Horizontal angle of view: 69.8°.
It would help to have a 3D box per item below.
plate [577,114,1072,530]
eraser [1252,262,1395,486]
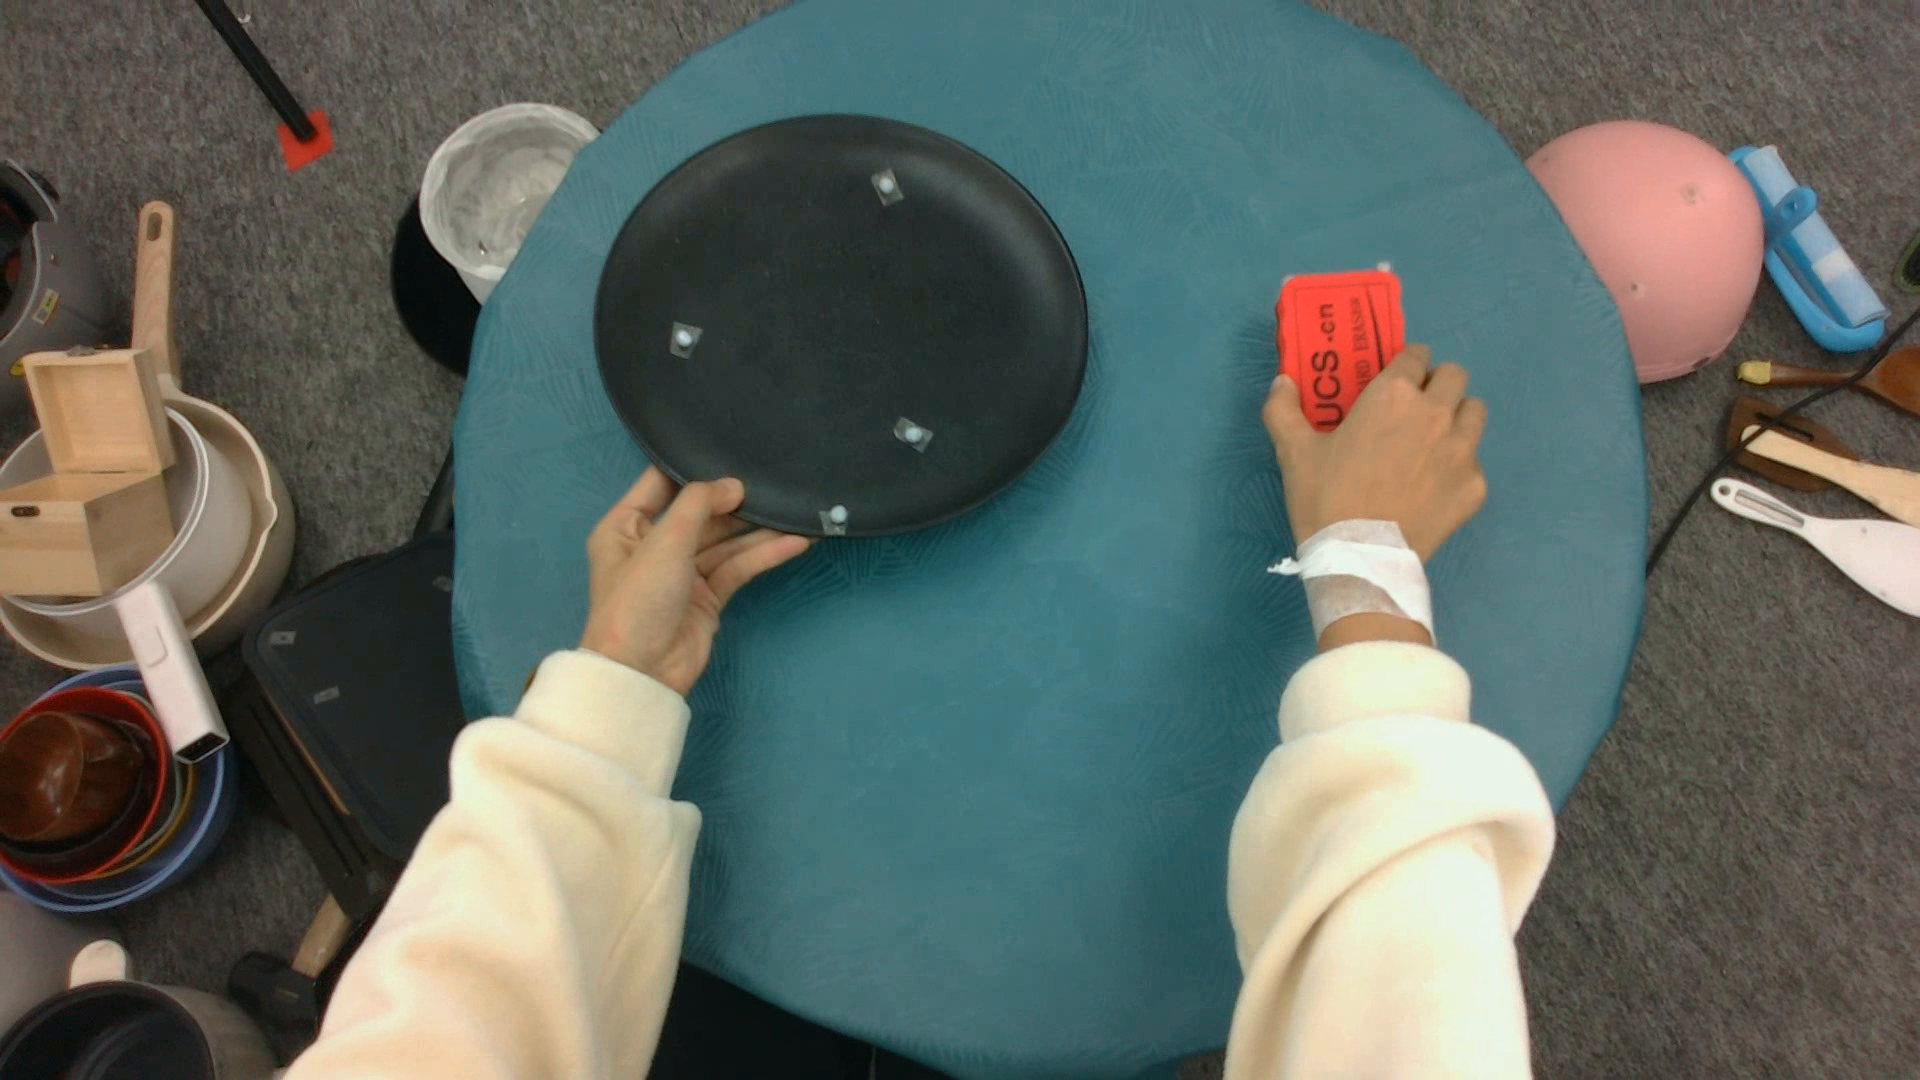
[{"bbox_3d":[-0.066,-0.112,0.689,0.244,0.023,0.245,2,65,-4],"label":"plate"},{"bbox_3d":[0.177,-0.081,0.673,0.059,0.023,0.108,-2,76,2],"label":"eraser"}]
